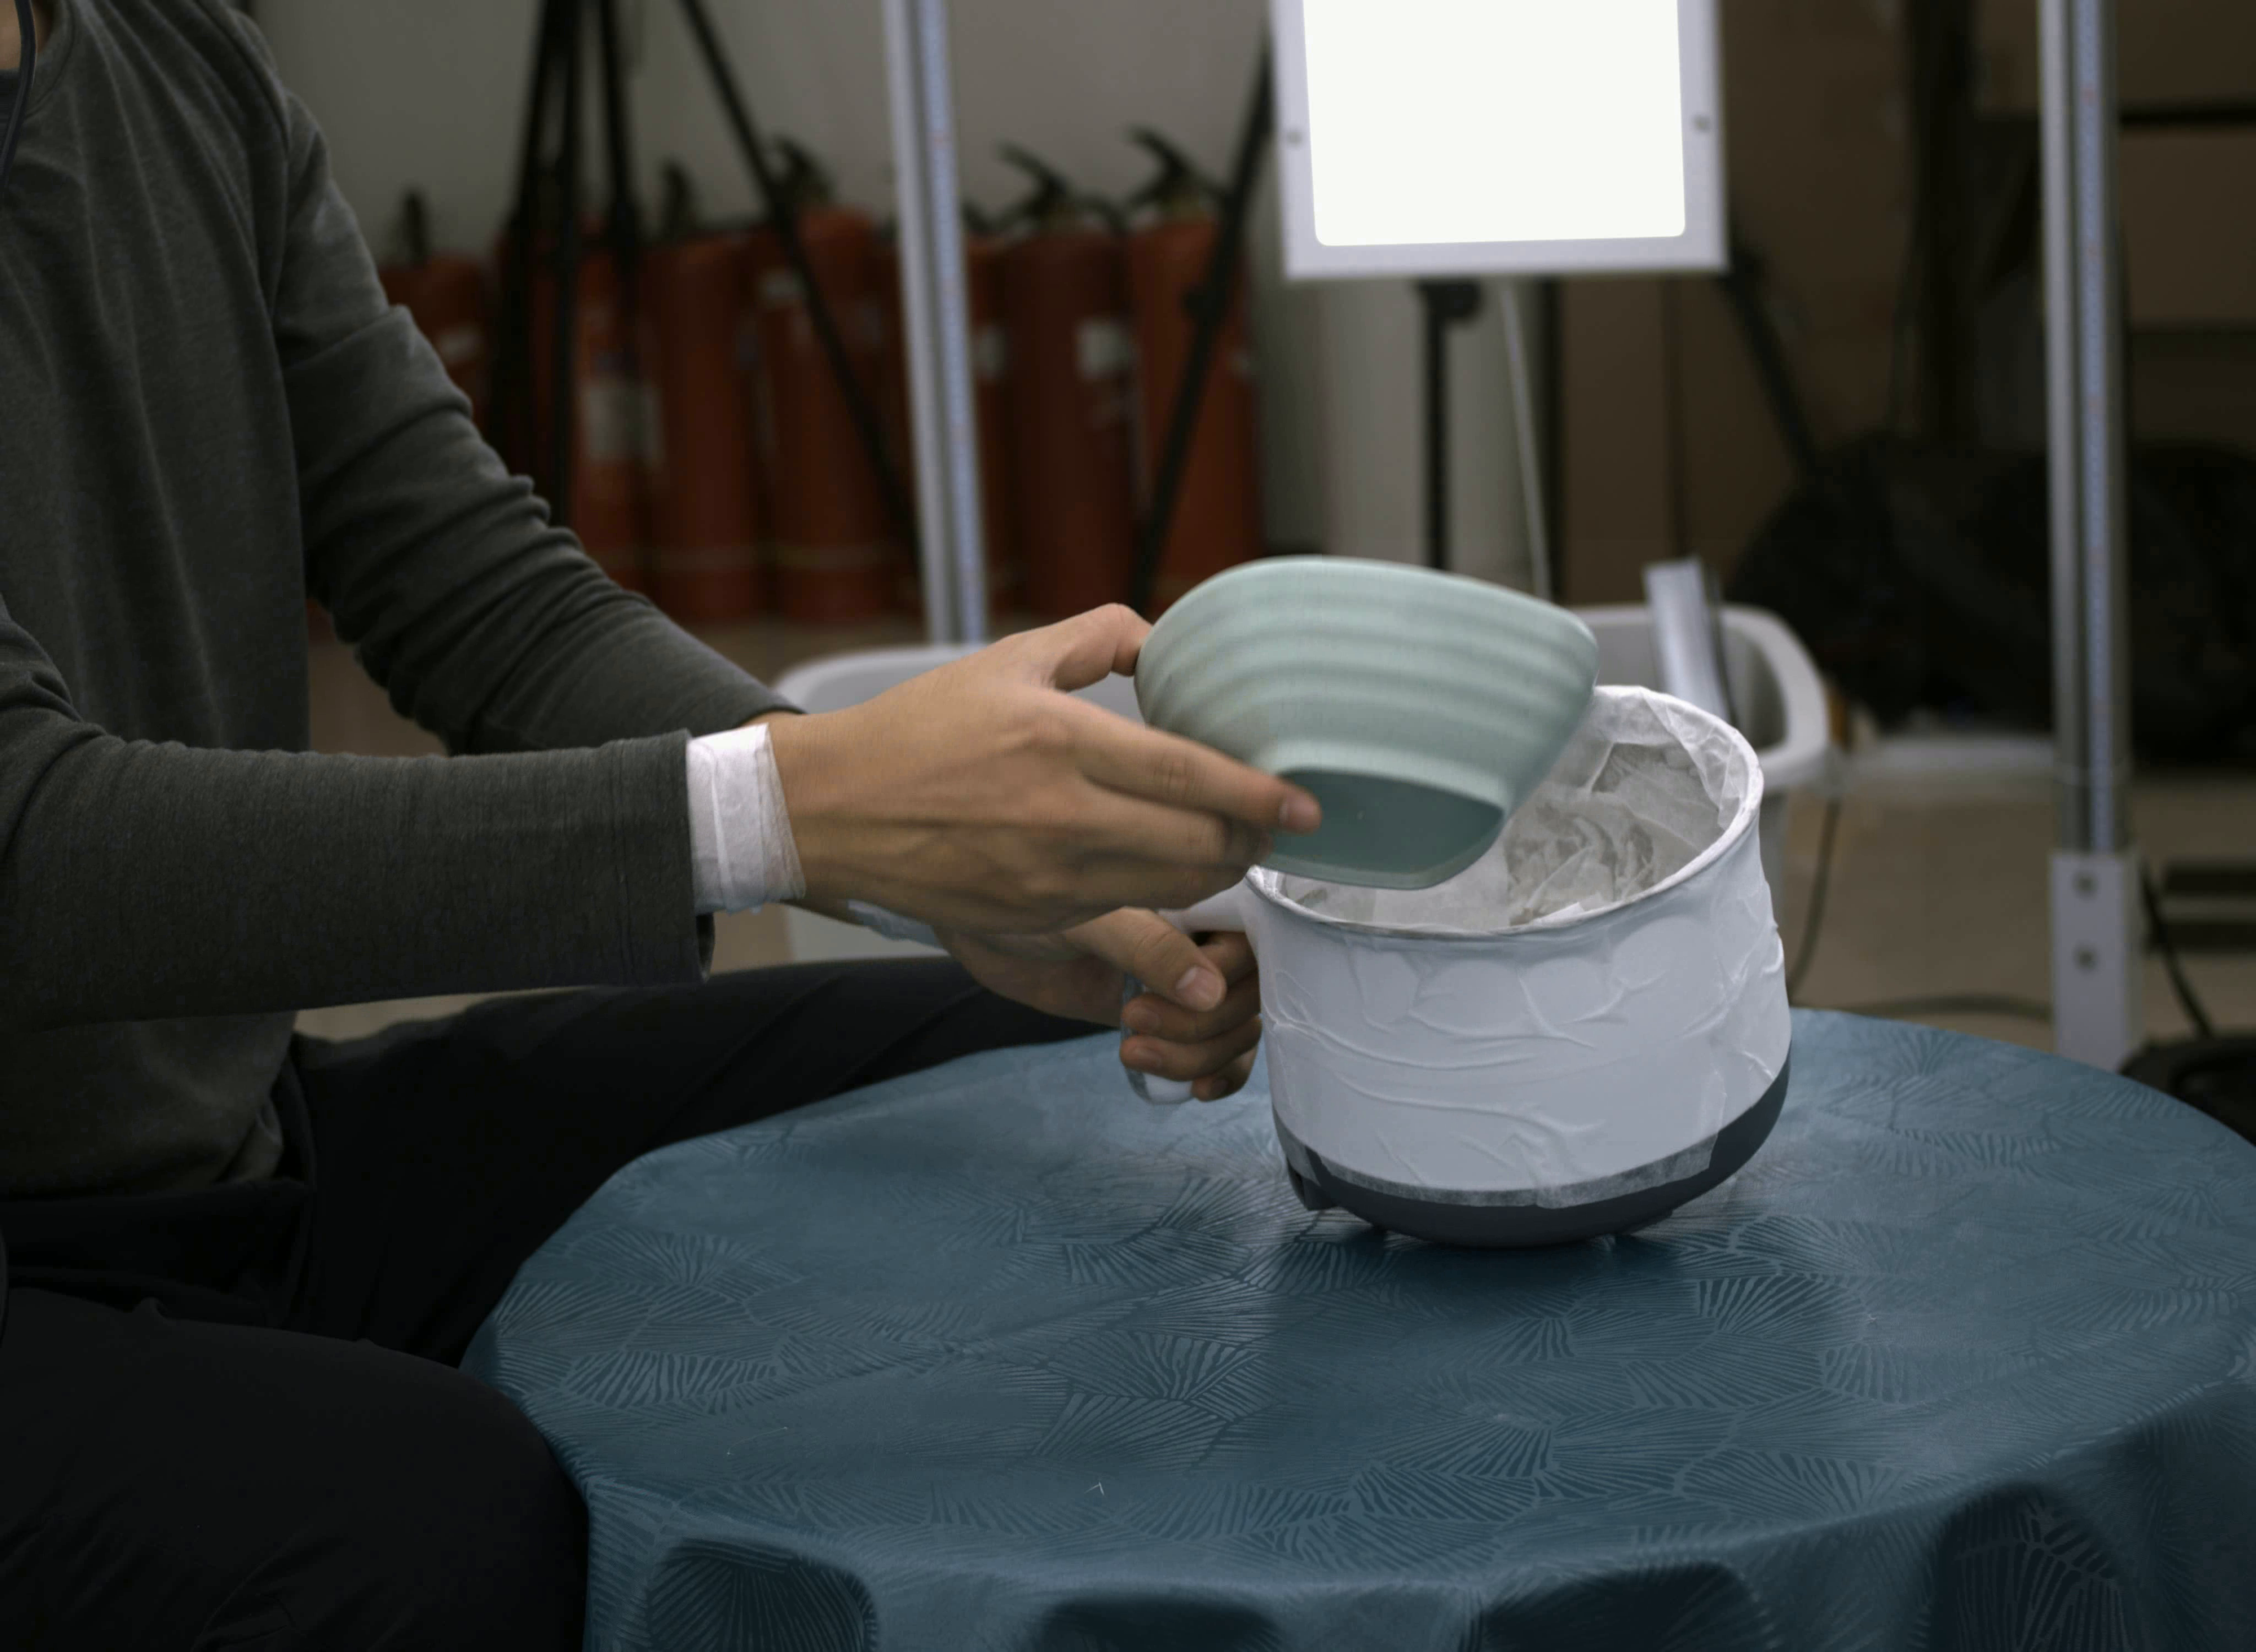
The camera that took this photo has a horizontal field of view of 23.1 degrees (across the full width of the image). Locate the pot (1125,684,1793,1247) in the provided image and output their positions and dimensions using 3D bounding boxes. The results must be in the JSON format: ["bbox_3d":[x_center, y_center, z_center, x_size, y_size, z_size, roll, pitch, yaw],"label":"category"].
[{"bbox_3d":[0.106,0.048,1.850,0.237,0.137,0.176,0,28,21],"label":"pot"}]

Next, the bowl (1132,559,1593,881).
[{"bbox_3d":[0.068,-0.027,1.696,0.151,0.058,0.152,10,-19,2],"label":"bowl"}]
